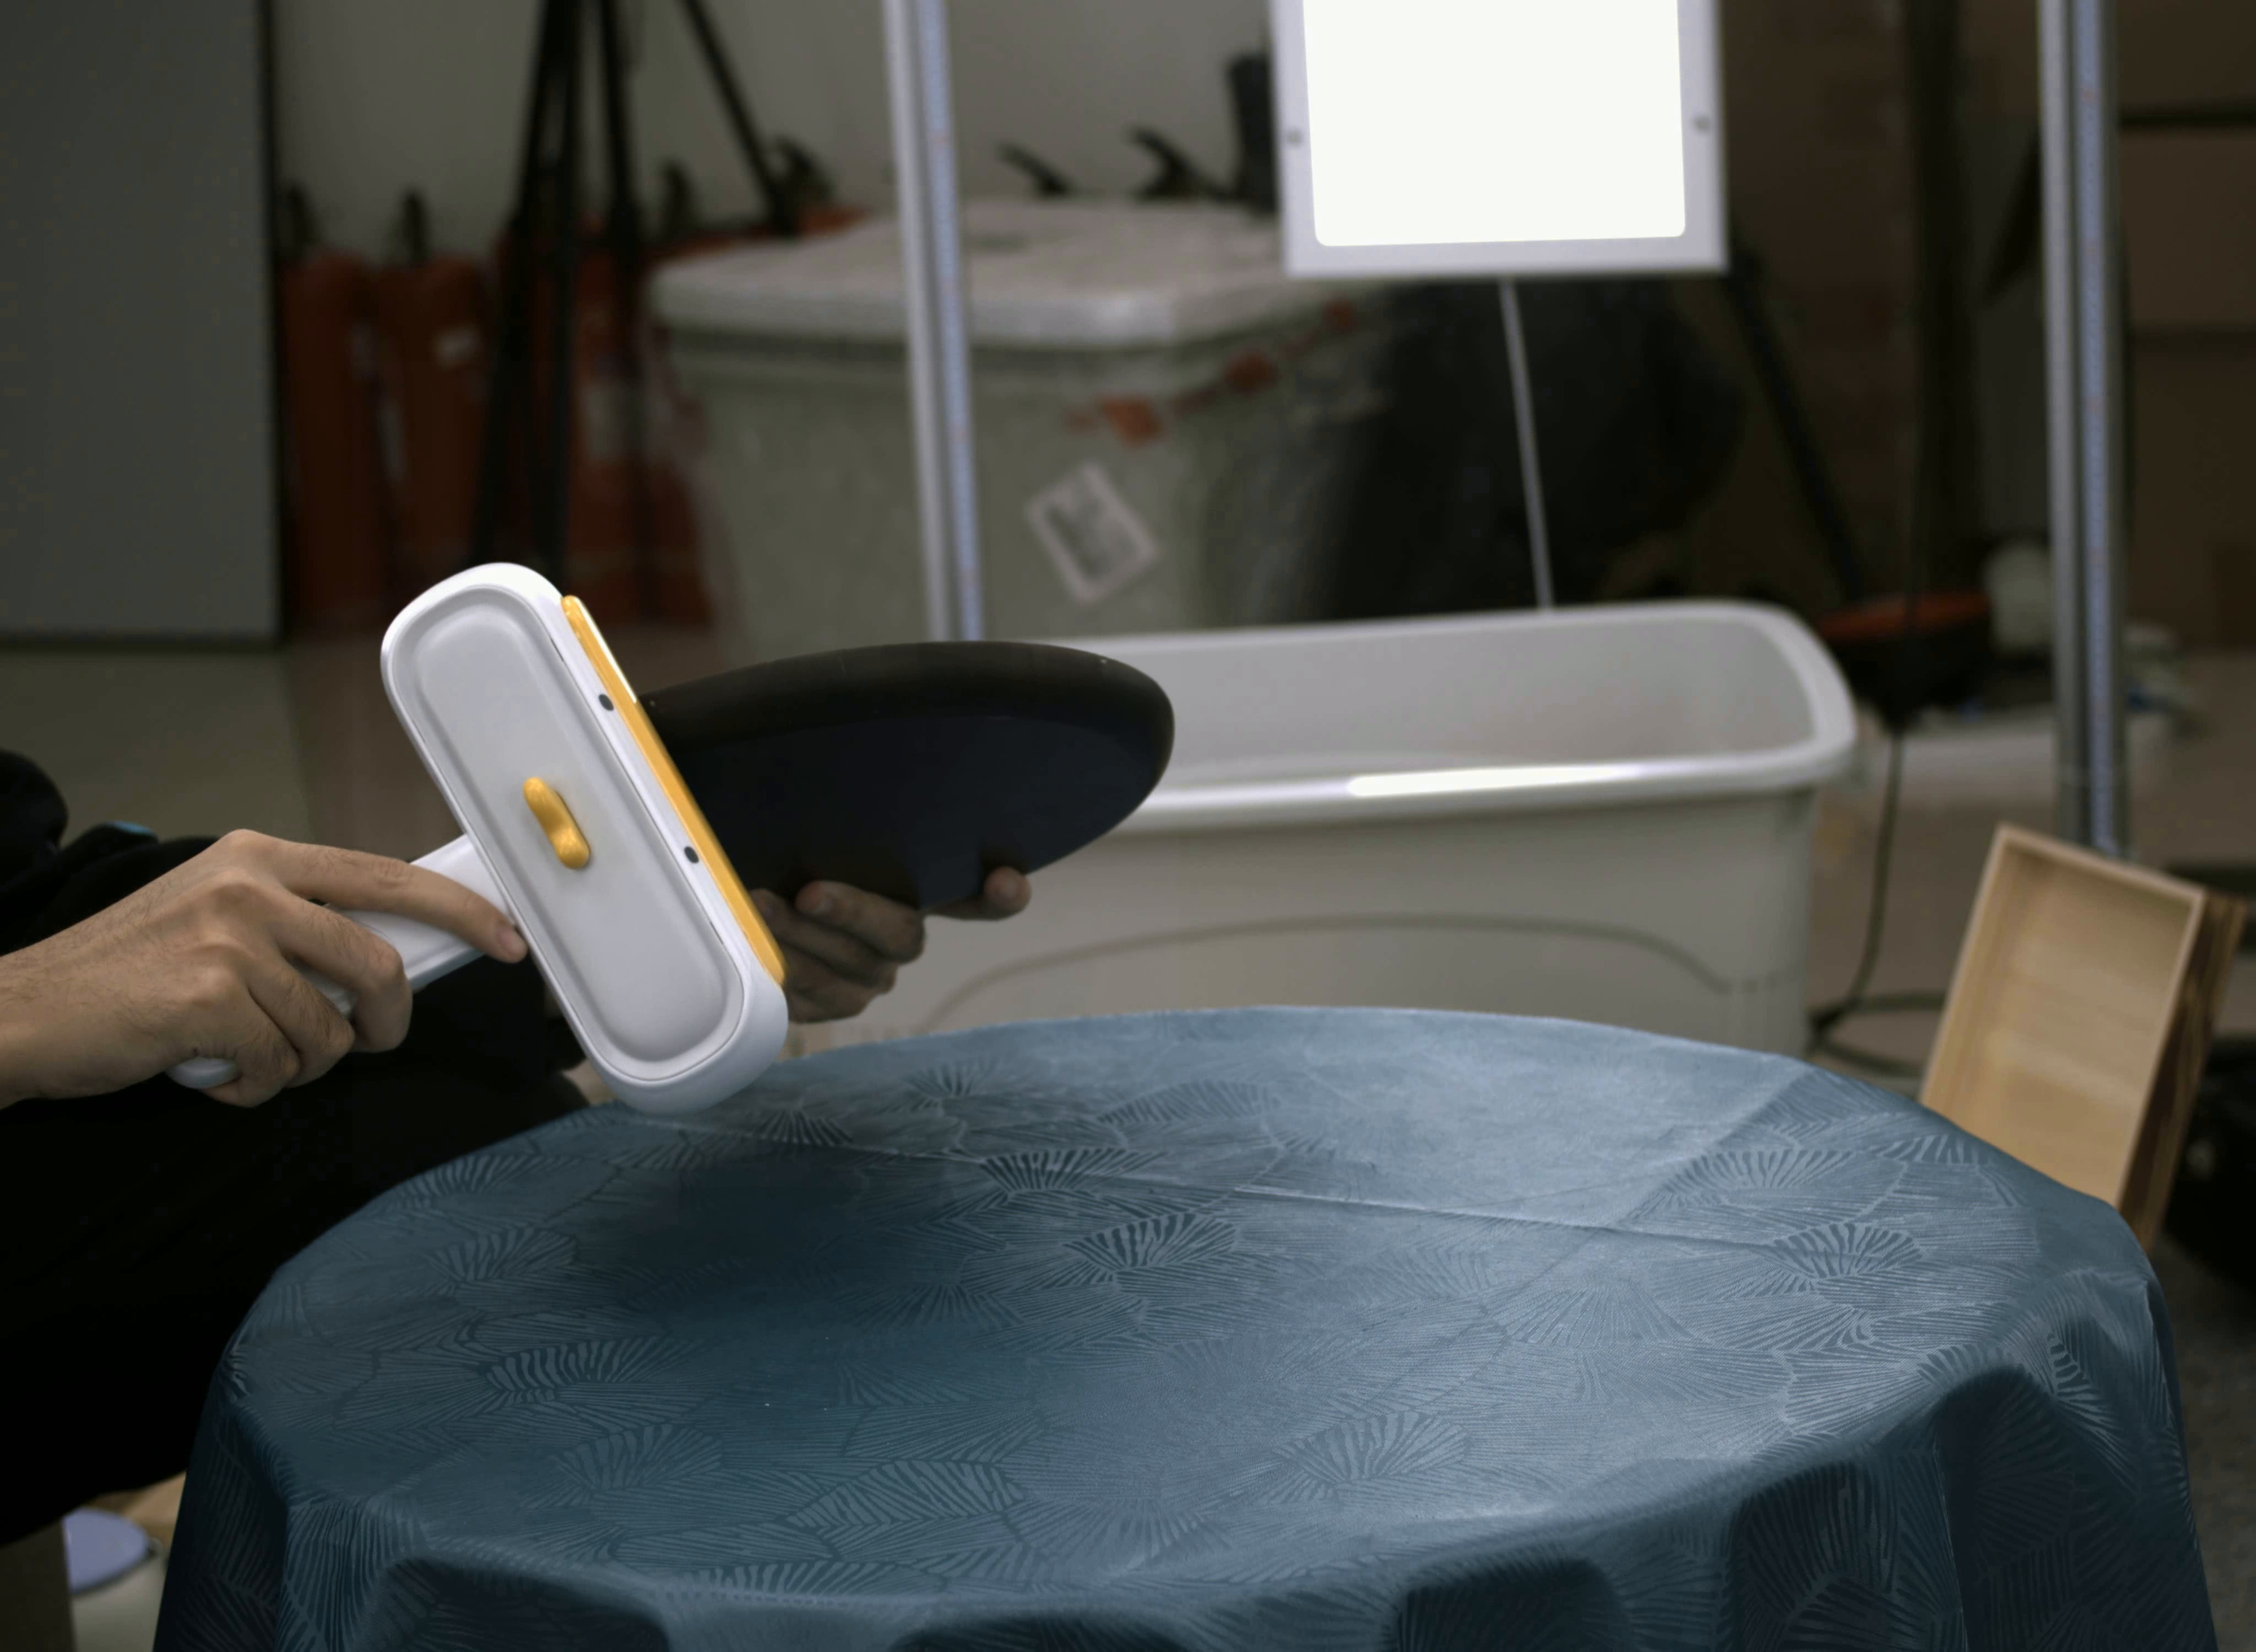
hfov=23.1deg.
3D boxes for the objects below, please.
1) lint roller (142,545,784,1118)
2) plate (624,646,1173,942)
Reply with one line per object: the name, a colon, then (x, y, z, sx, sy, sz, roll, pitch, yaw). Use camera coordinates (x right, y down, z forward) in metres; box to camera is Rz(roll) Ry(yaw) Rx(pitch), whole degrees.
lint roller: (-0.229, 0.029, 1.777, 0.191, 0.193, 0.074, -33, -4, -3)
plate: (-0.107, -0.007, 1.912, 0.253, 0.029, 0.256, -11, -18, -5)
